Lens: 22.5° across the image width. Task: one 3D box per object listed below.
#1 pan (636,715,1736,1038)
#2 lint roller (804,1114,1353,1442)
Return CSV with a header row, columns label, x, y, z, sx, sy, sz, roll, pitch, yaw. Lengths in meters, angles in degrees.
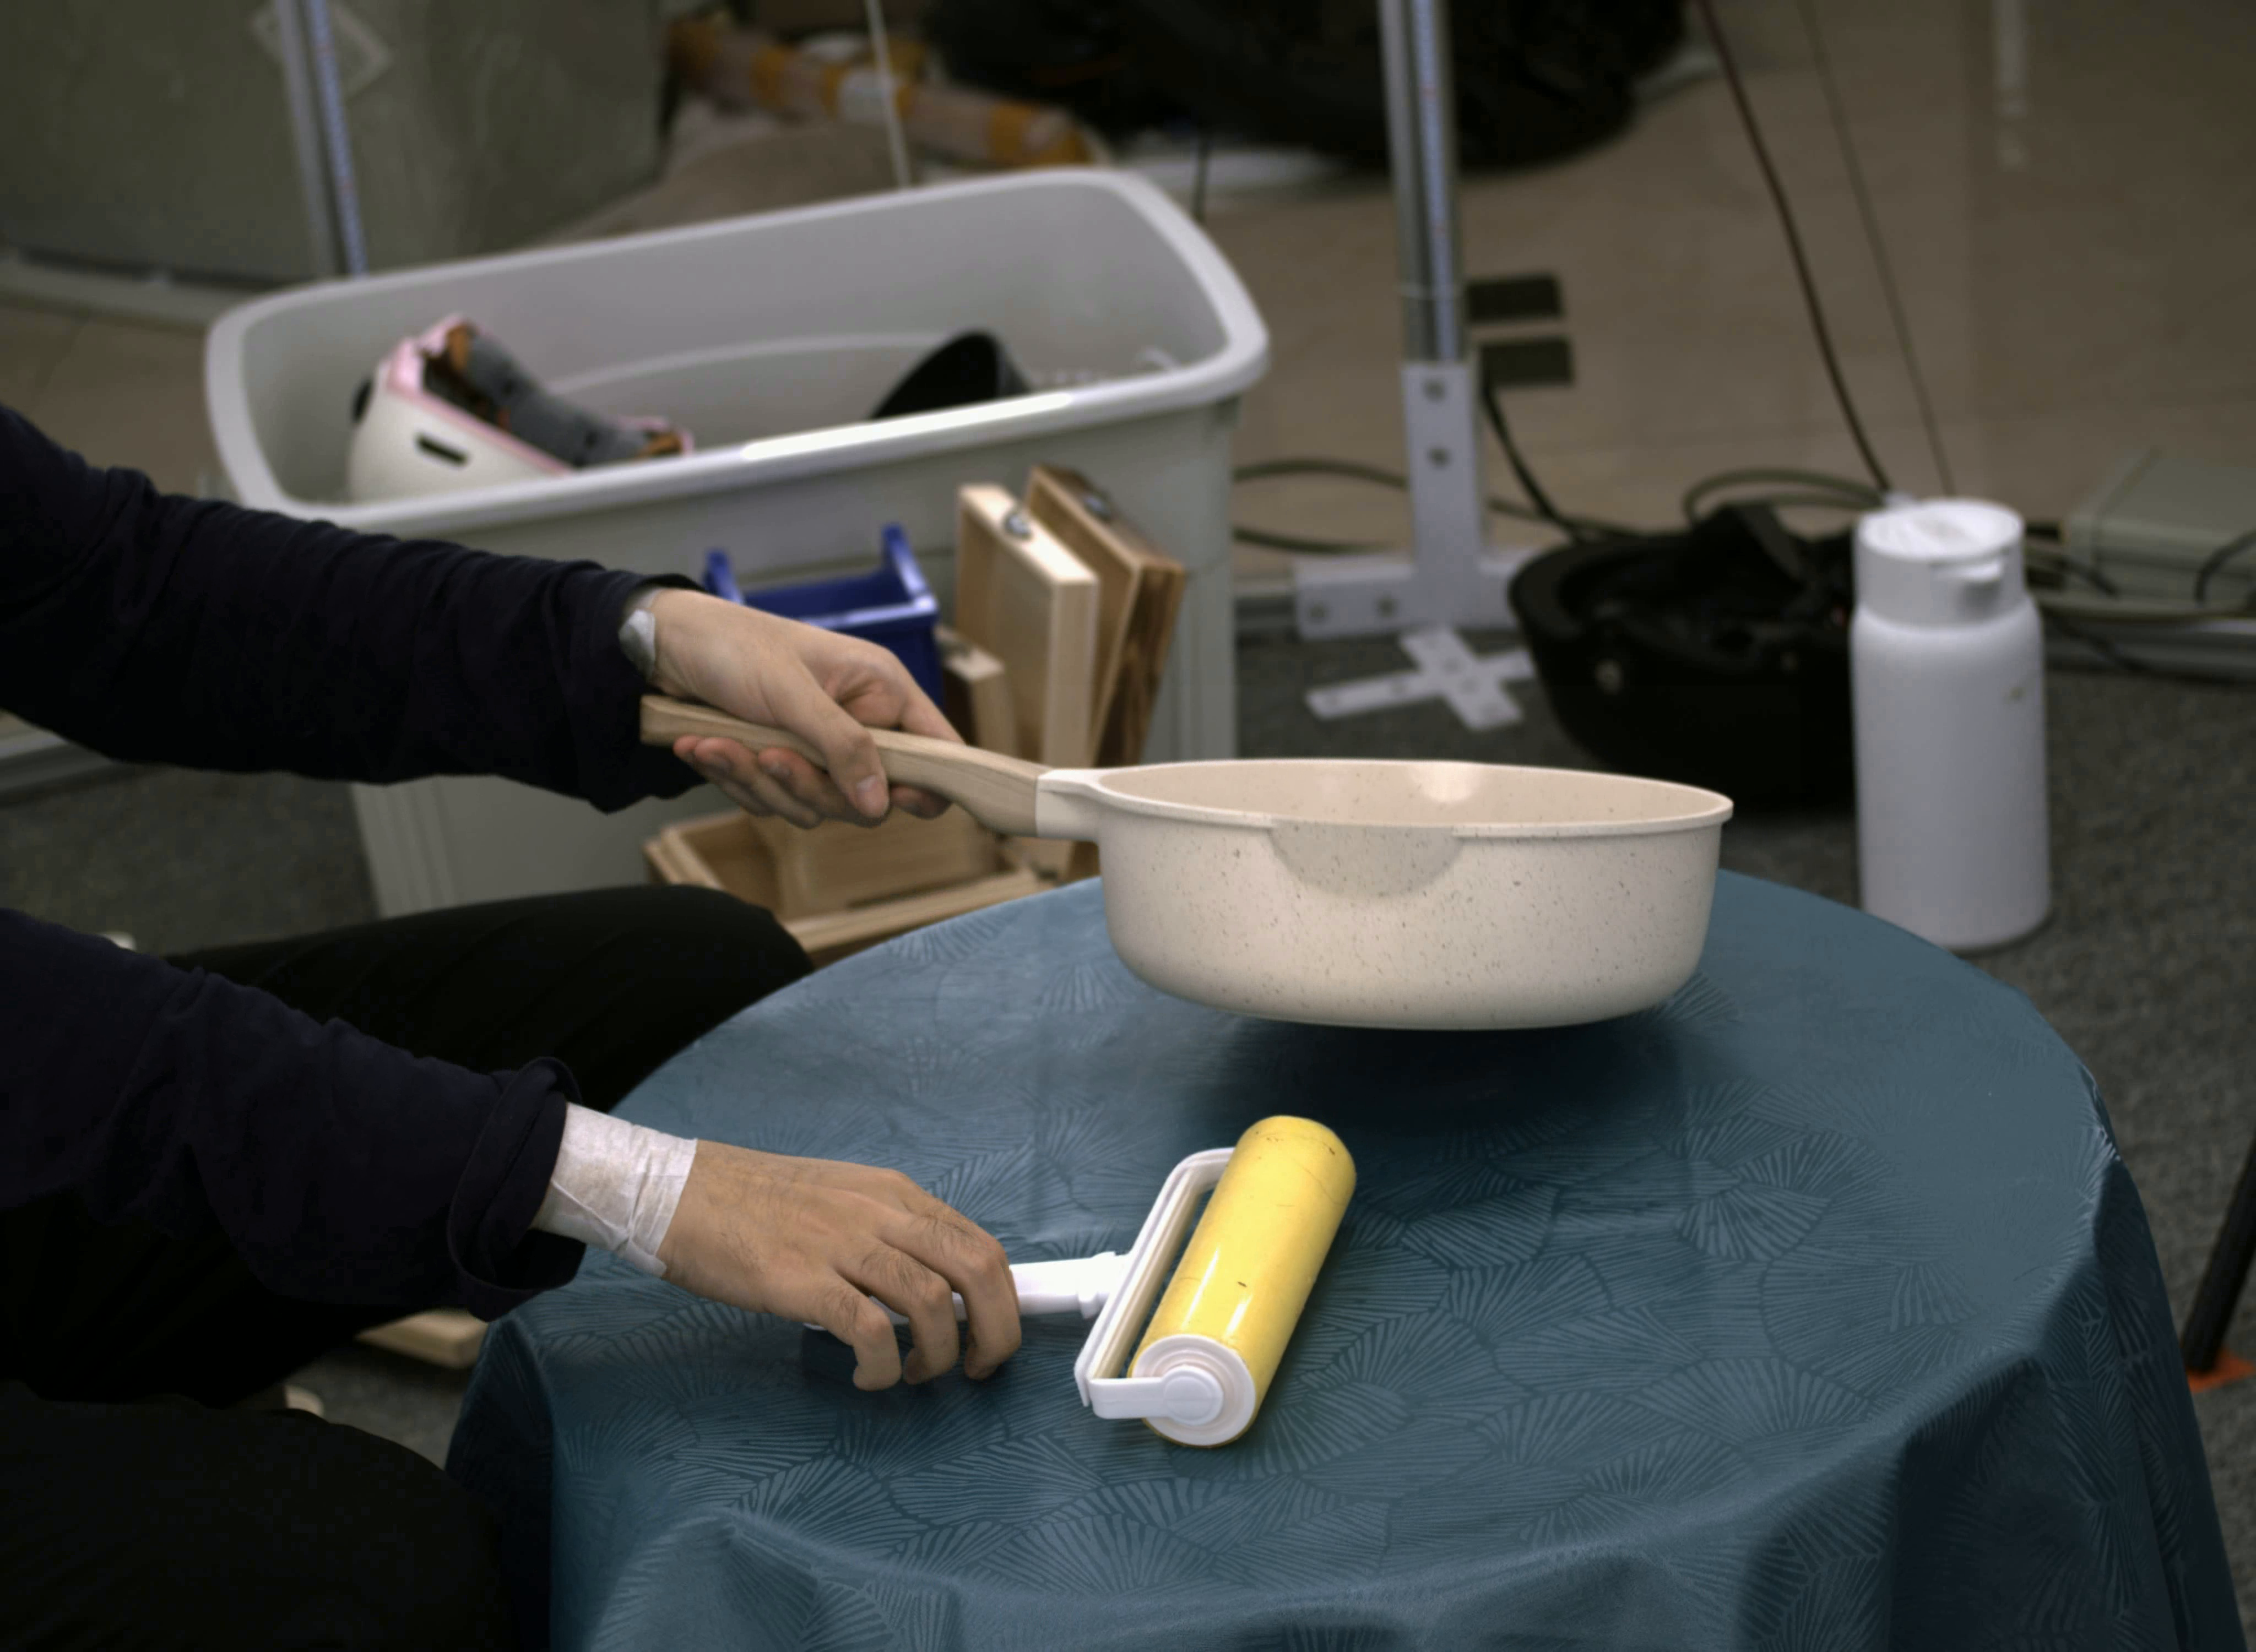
label,x,y,z,sx,sy,sz,roll,pitch,yaw
pan,0.019,0.014,2.221,0.434,0.103,0.262,2,9,10
lint roller,-0.028,0.163,2.051,0.191,0.052,0.172,0,25,15
